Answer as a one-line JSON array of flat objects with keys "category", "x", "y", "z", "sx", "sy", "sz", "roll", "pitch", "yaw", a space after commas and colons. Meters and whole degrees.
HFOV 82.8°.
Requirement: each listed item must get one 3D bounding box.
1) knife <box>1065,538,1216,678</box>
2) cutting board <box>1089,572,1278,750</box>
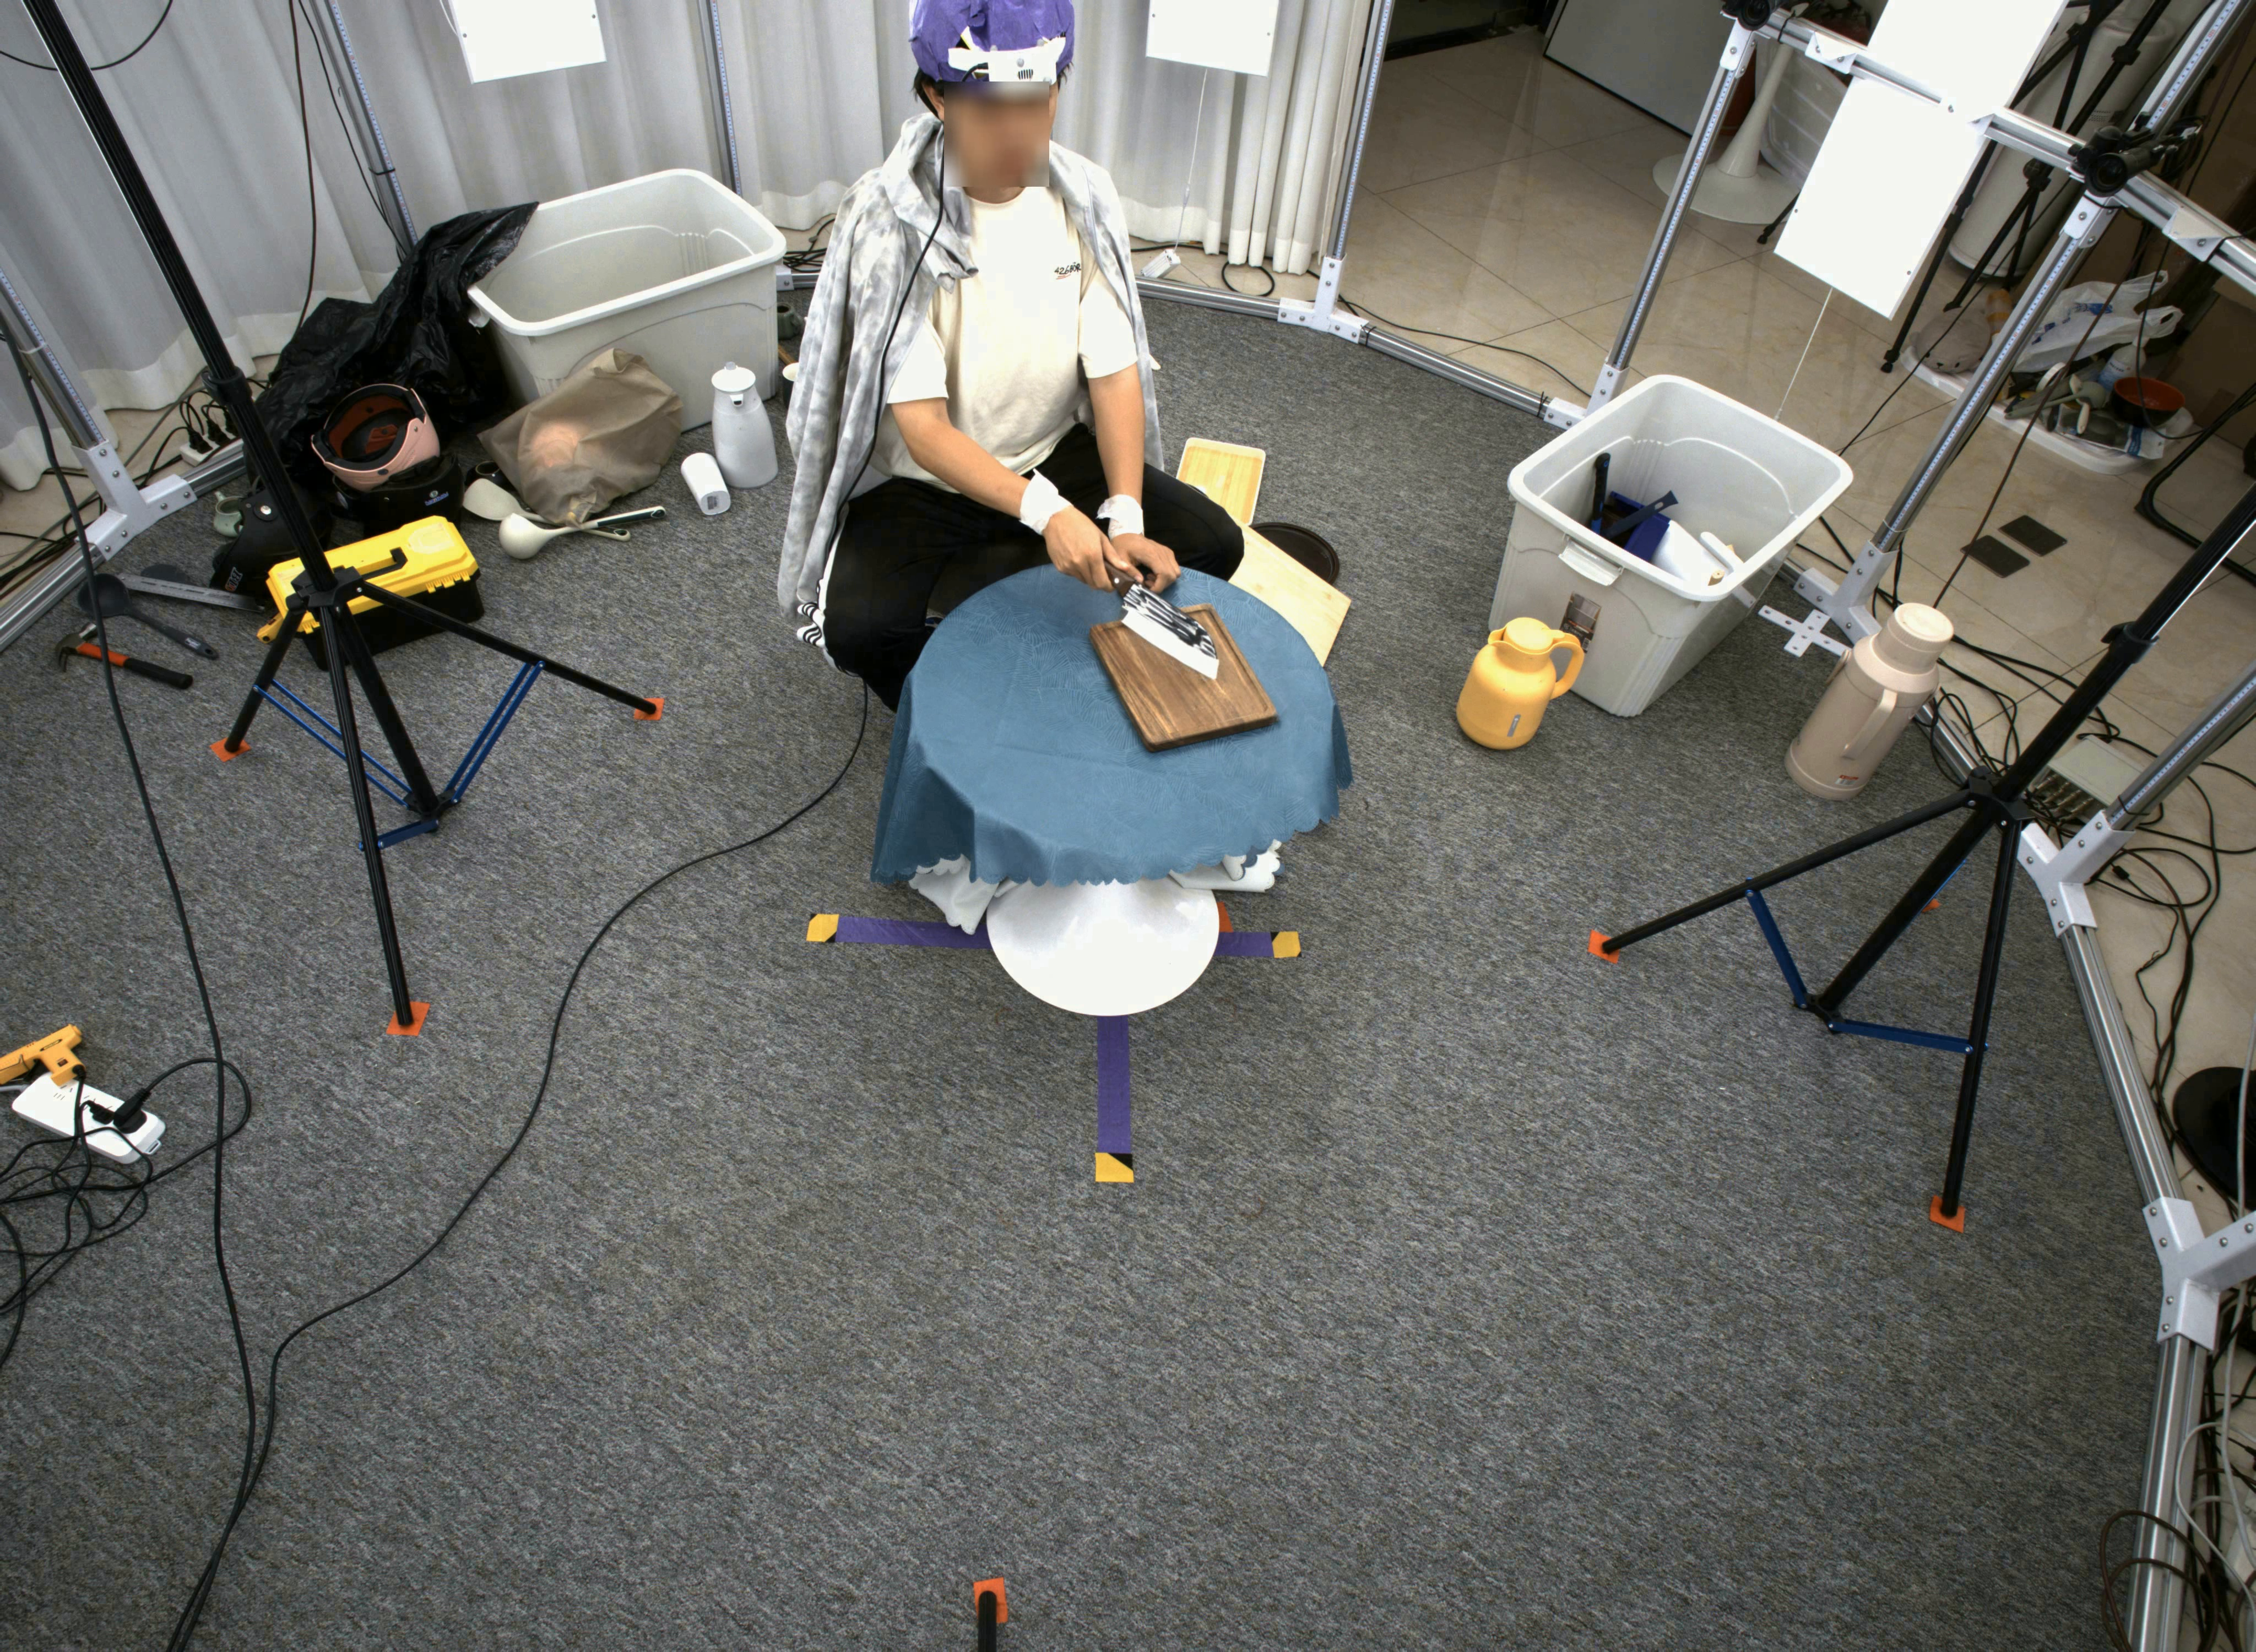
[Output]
[{"category": "knife", "x": 0.017, "y": -0.316, "z": 1.858, "sx": 0.303, "sy": 0.067, "sz": 0.024, "roll": 38, "pitch": 31, "yaw": 18}, {"category": "cutting board", "x": 0.060, "y": -0.257, "z": 1.876, "sx": 0.201, "sy": 0.022, "sz": 0.360, "roll": -13, "pitch": 50, "yaw": -15}]
